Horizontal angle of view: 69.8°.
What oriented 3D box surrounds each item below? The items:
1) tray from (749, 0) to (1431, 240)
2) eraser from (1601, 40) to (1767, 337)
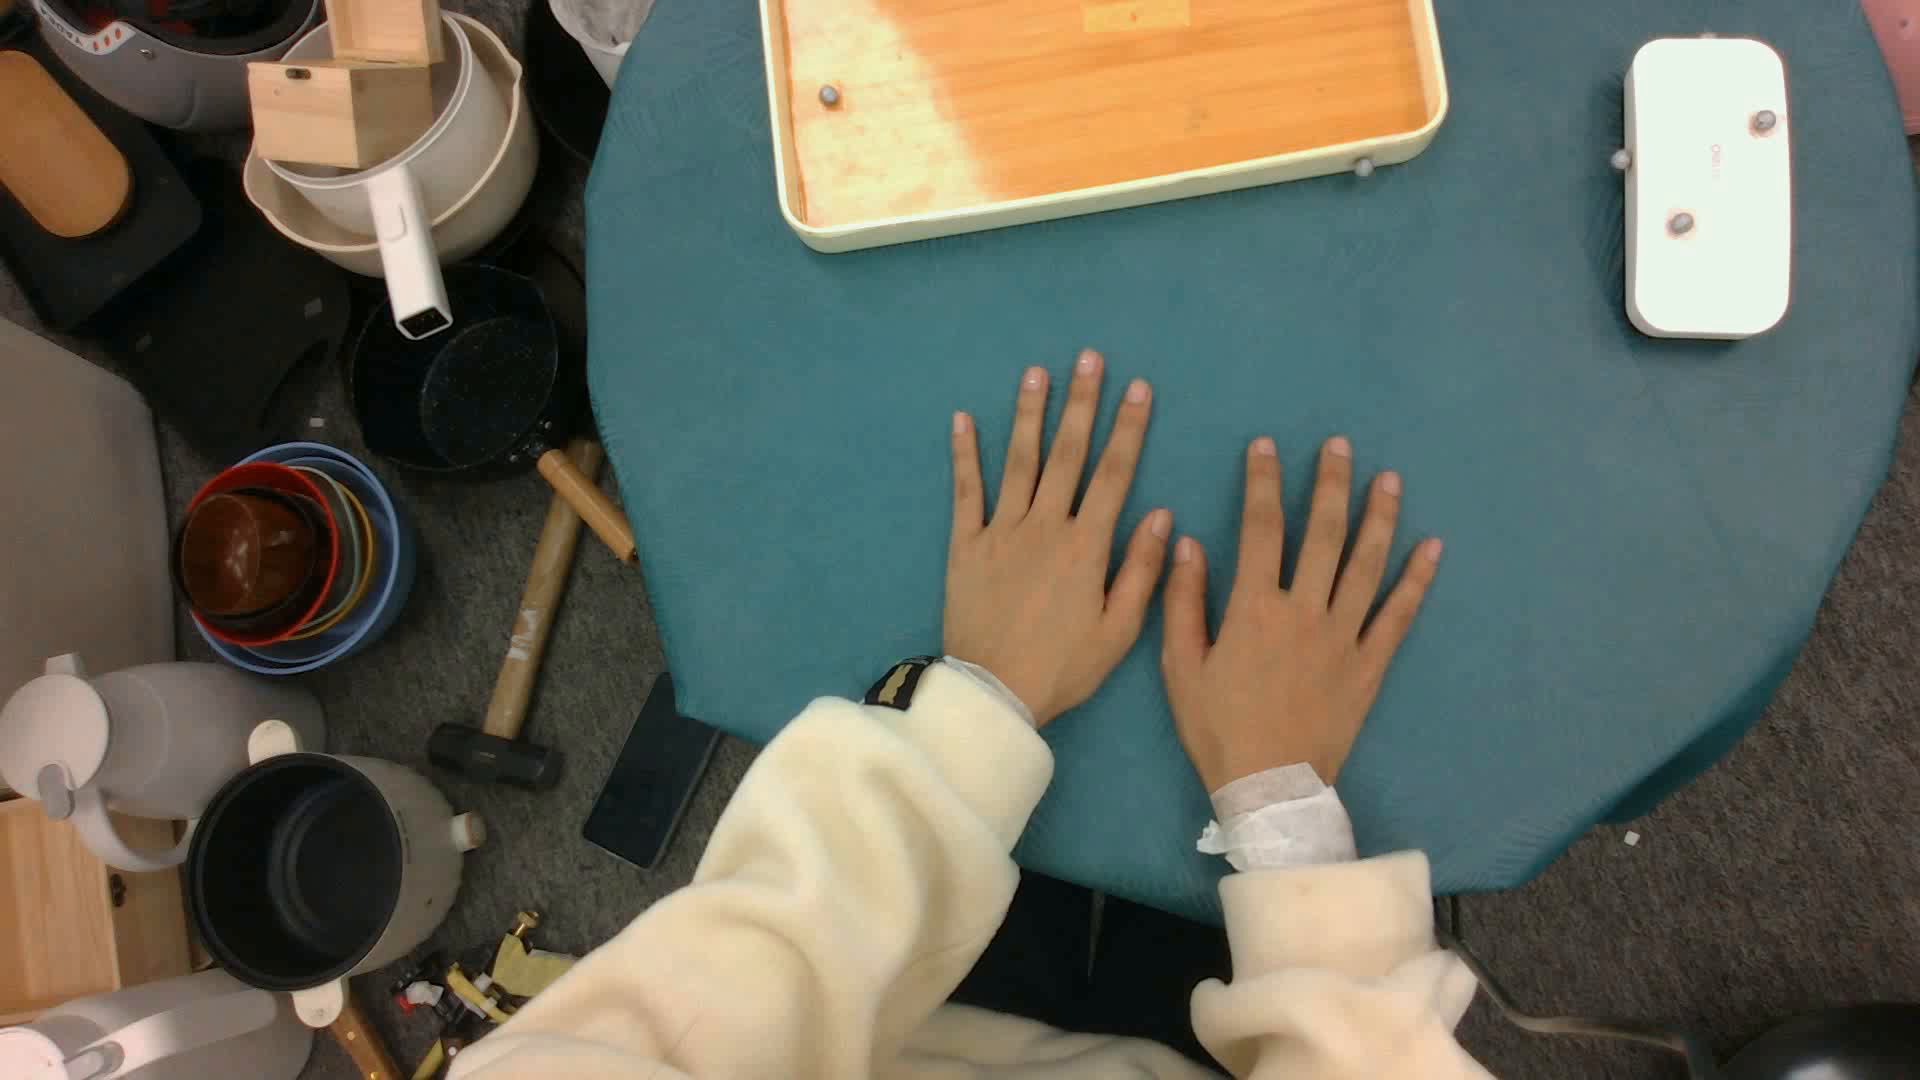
[{"bbox_3d":[0.052,-0.252,0.642,0.300,0.027,0.192,-7,80,5],"label":"tray"},{"bbox_3d":[0.309,-0.153,0.595,0.063,0.034,0.131,3,80,7],"label":"eraser"}]
